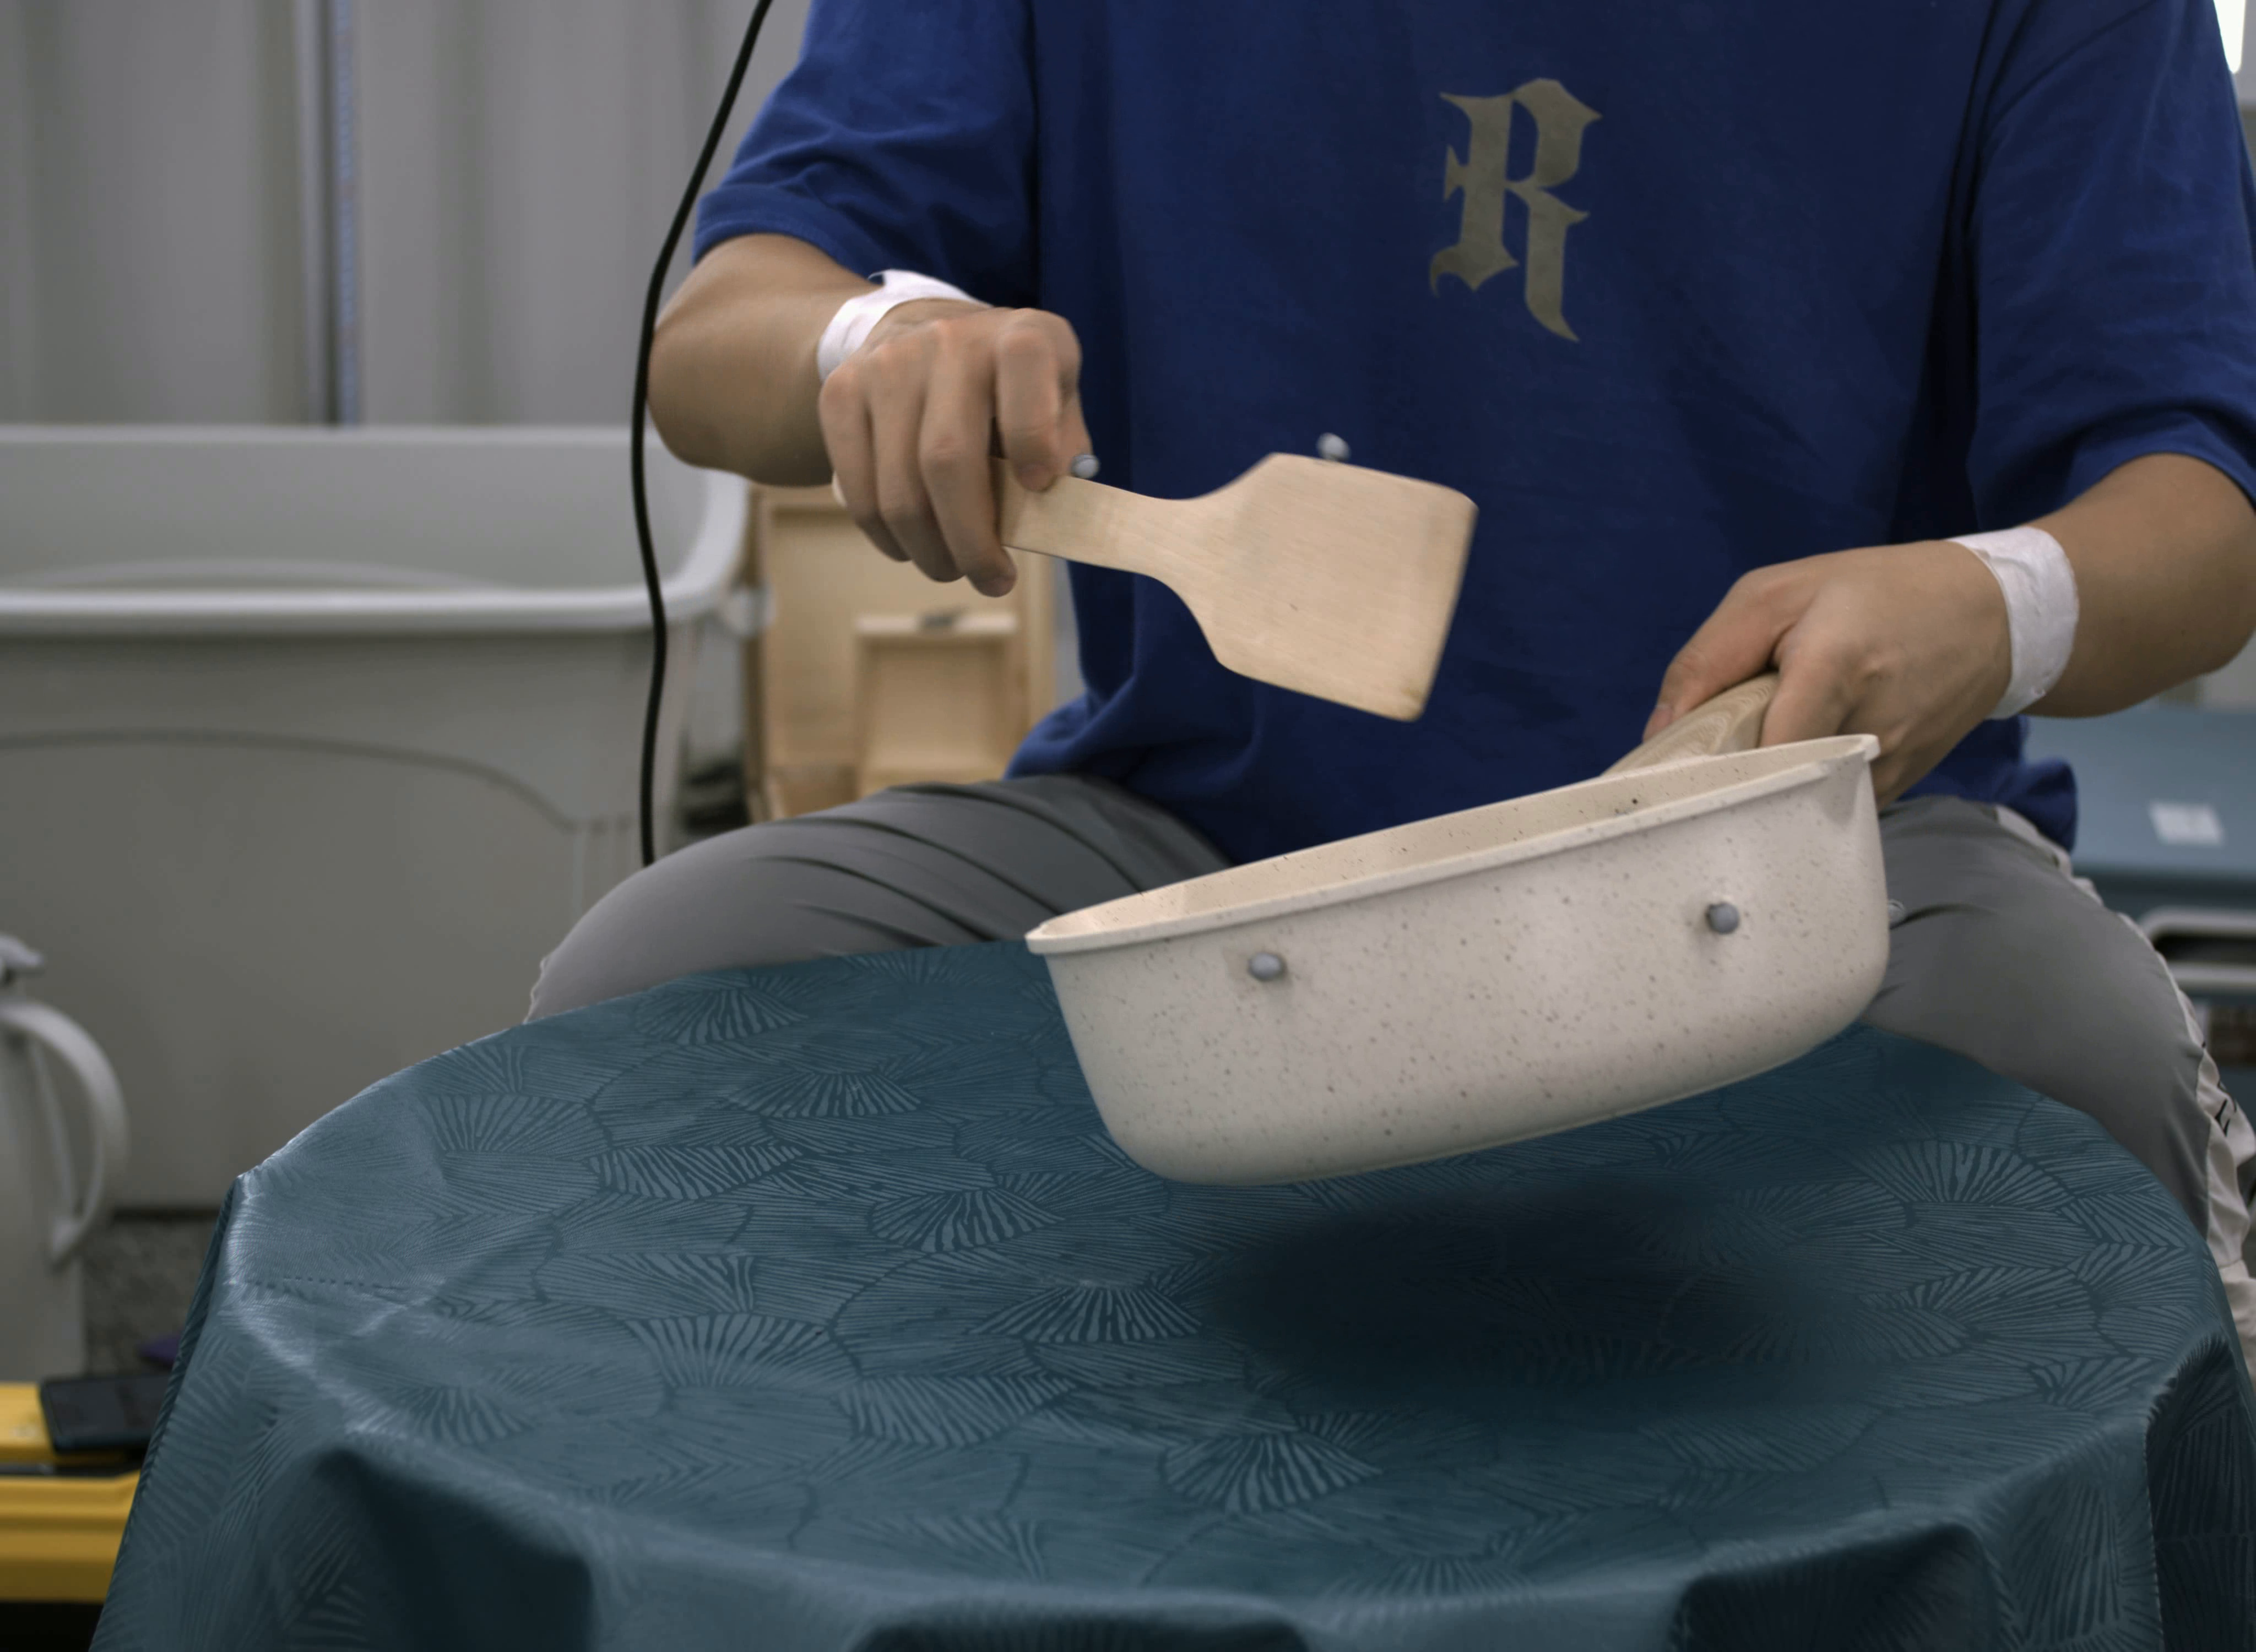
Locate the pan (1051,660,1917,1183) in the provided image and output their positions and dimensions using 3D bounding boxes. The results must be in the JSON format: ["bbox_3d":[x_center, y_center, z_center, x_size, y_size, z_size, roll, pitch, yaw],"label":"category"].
[{"bbox_3d":[0.149,0.020,1.589,0.261,0.102,0.437,-15,0,29],"label":"pan"}]

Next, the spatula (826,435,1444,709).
[{"bbox_3d":[-0.007,-0.094,1.643,0.011,0.072,0.289,10,4,-41],"label":"spatula"}]
